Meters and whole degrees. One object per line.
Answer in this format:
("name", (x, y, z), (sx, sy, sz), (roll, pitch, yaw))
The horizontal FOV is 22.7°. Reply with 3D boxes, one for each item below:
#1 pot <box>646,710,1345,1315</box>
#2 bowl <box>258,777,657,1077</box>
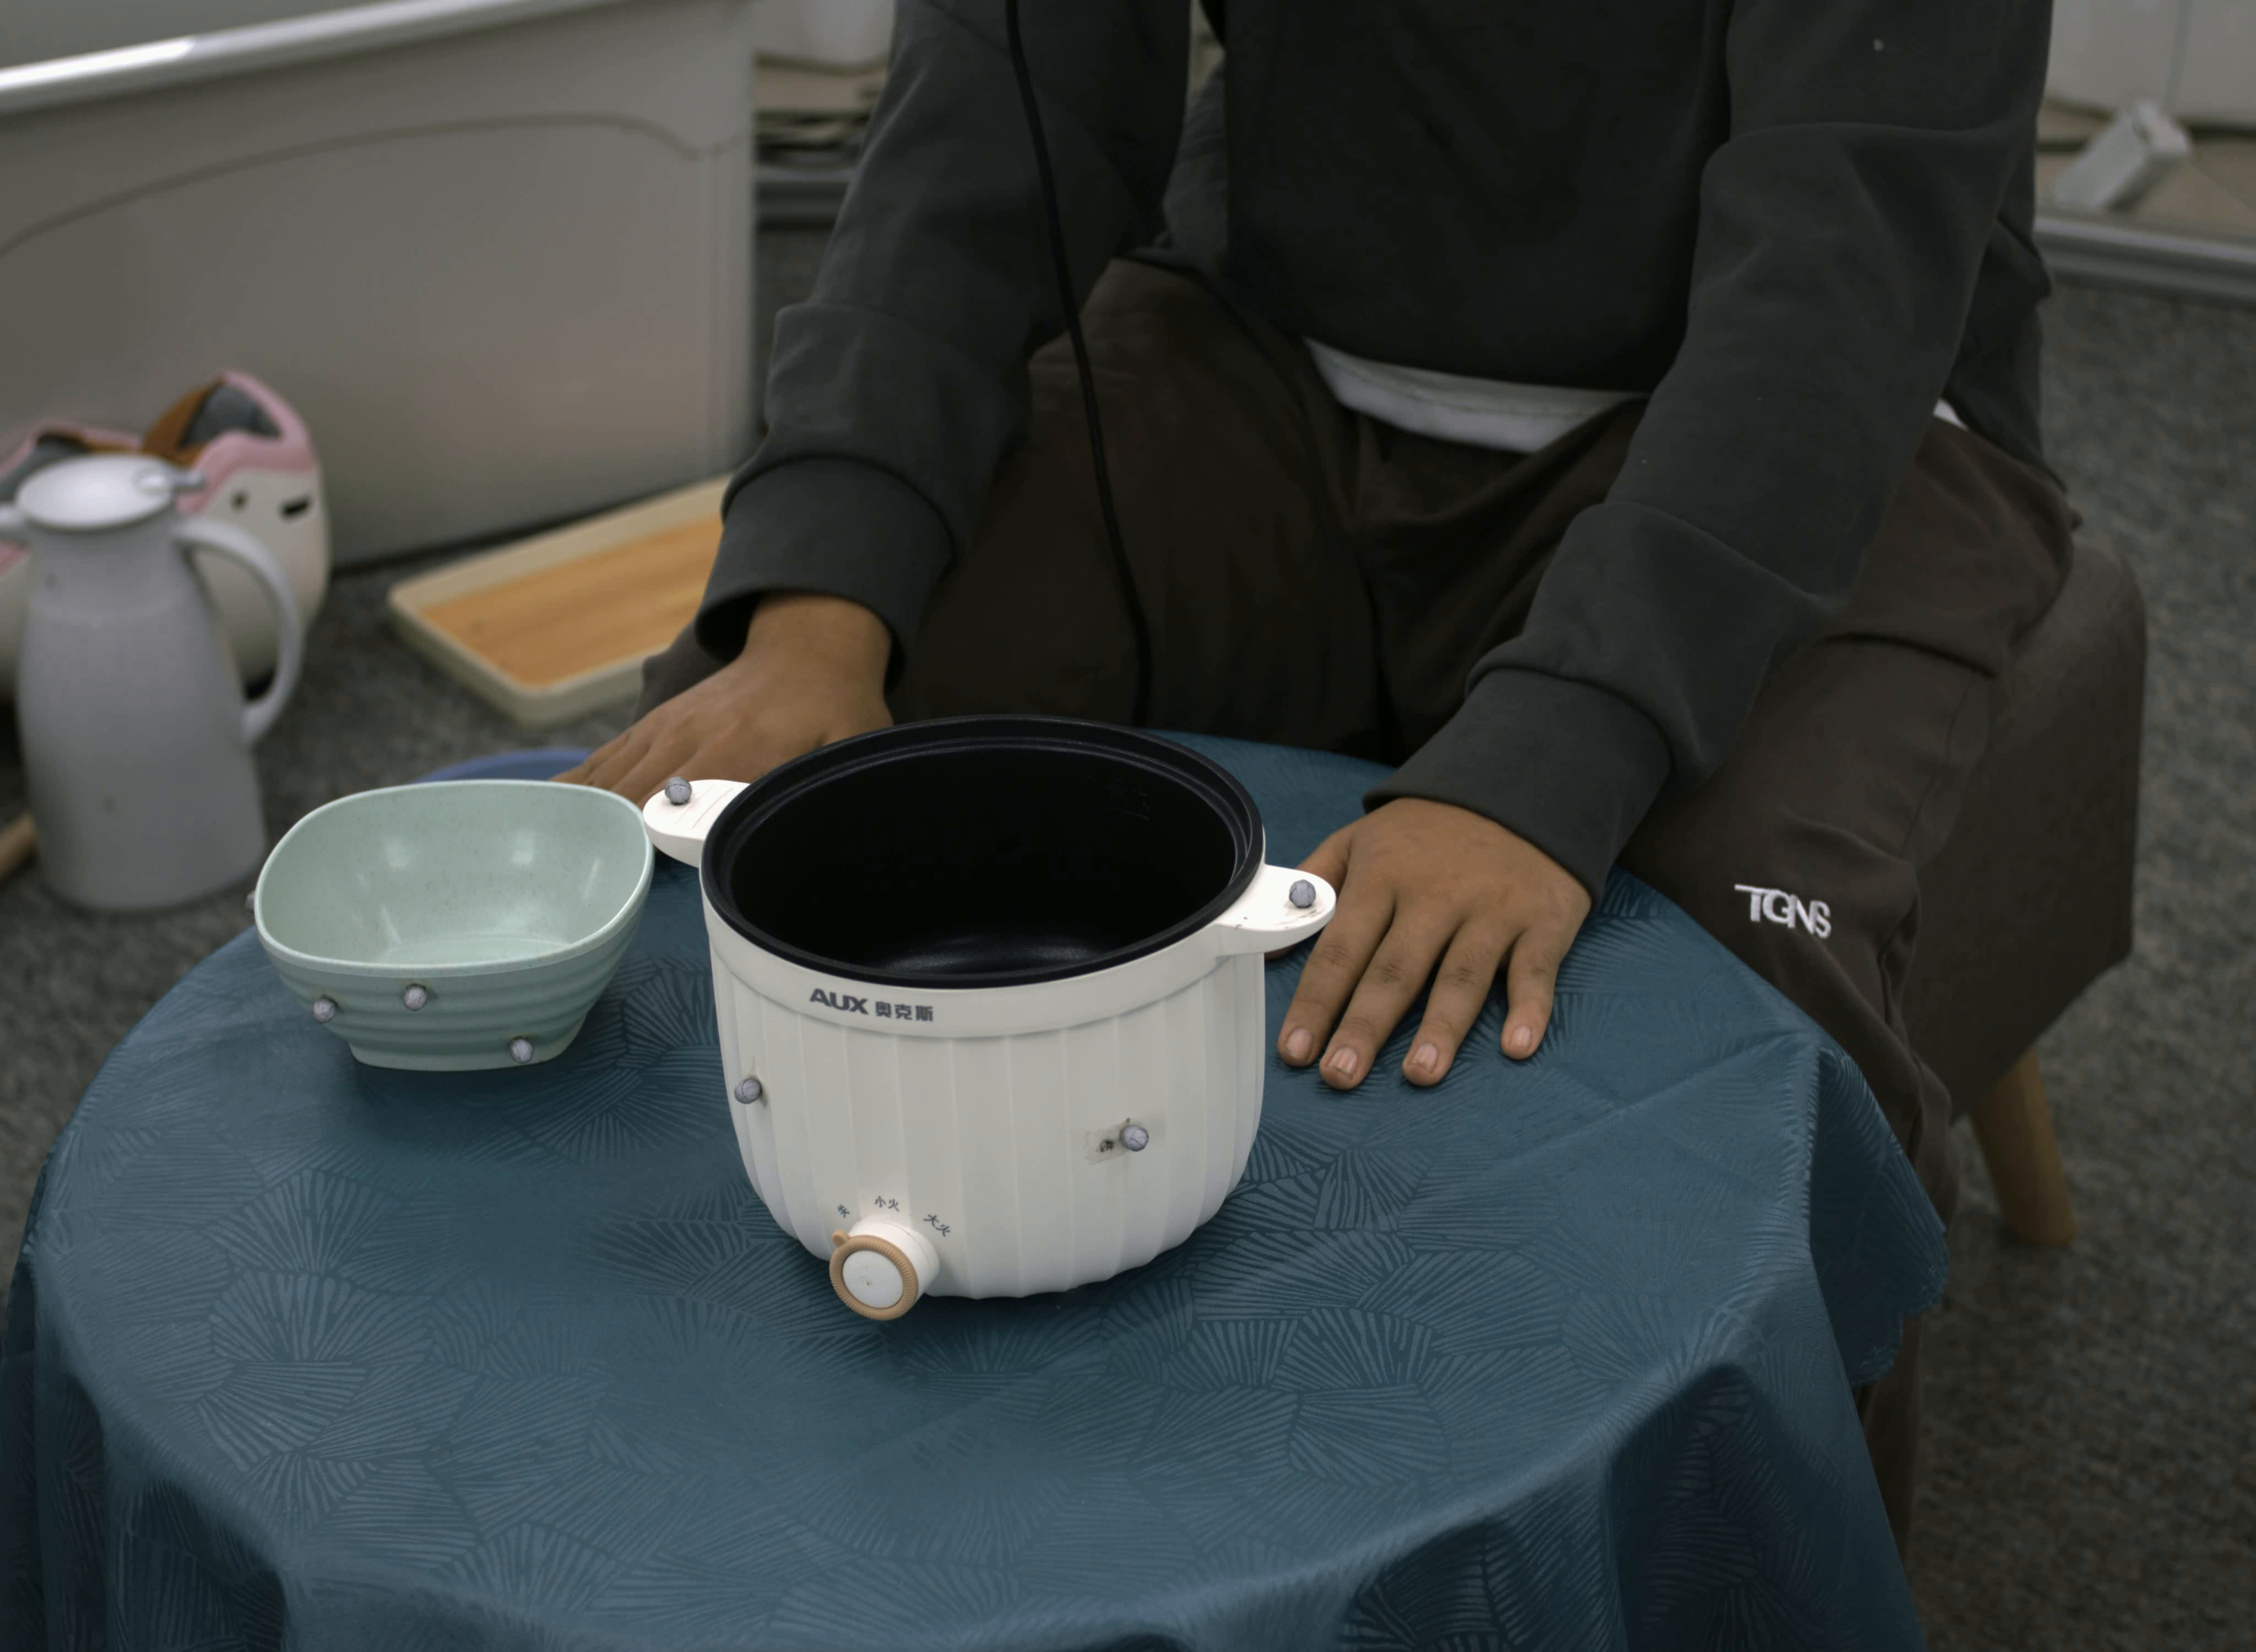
("pot", (-0.043, 0.064, 1.828), (0.238, 0.141, 0.193), (6, 25, 20))
("bowl", (-0.233, 0.042, 1.979), (0.151, 0.058, 0.154), (-2, 29, 2))
